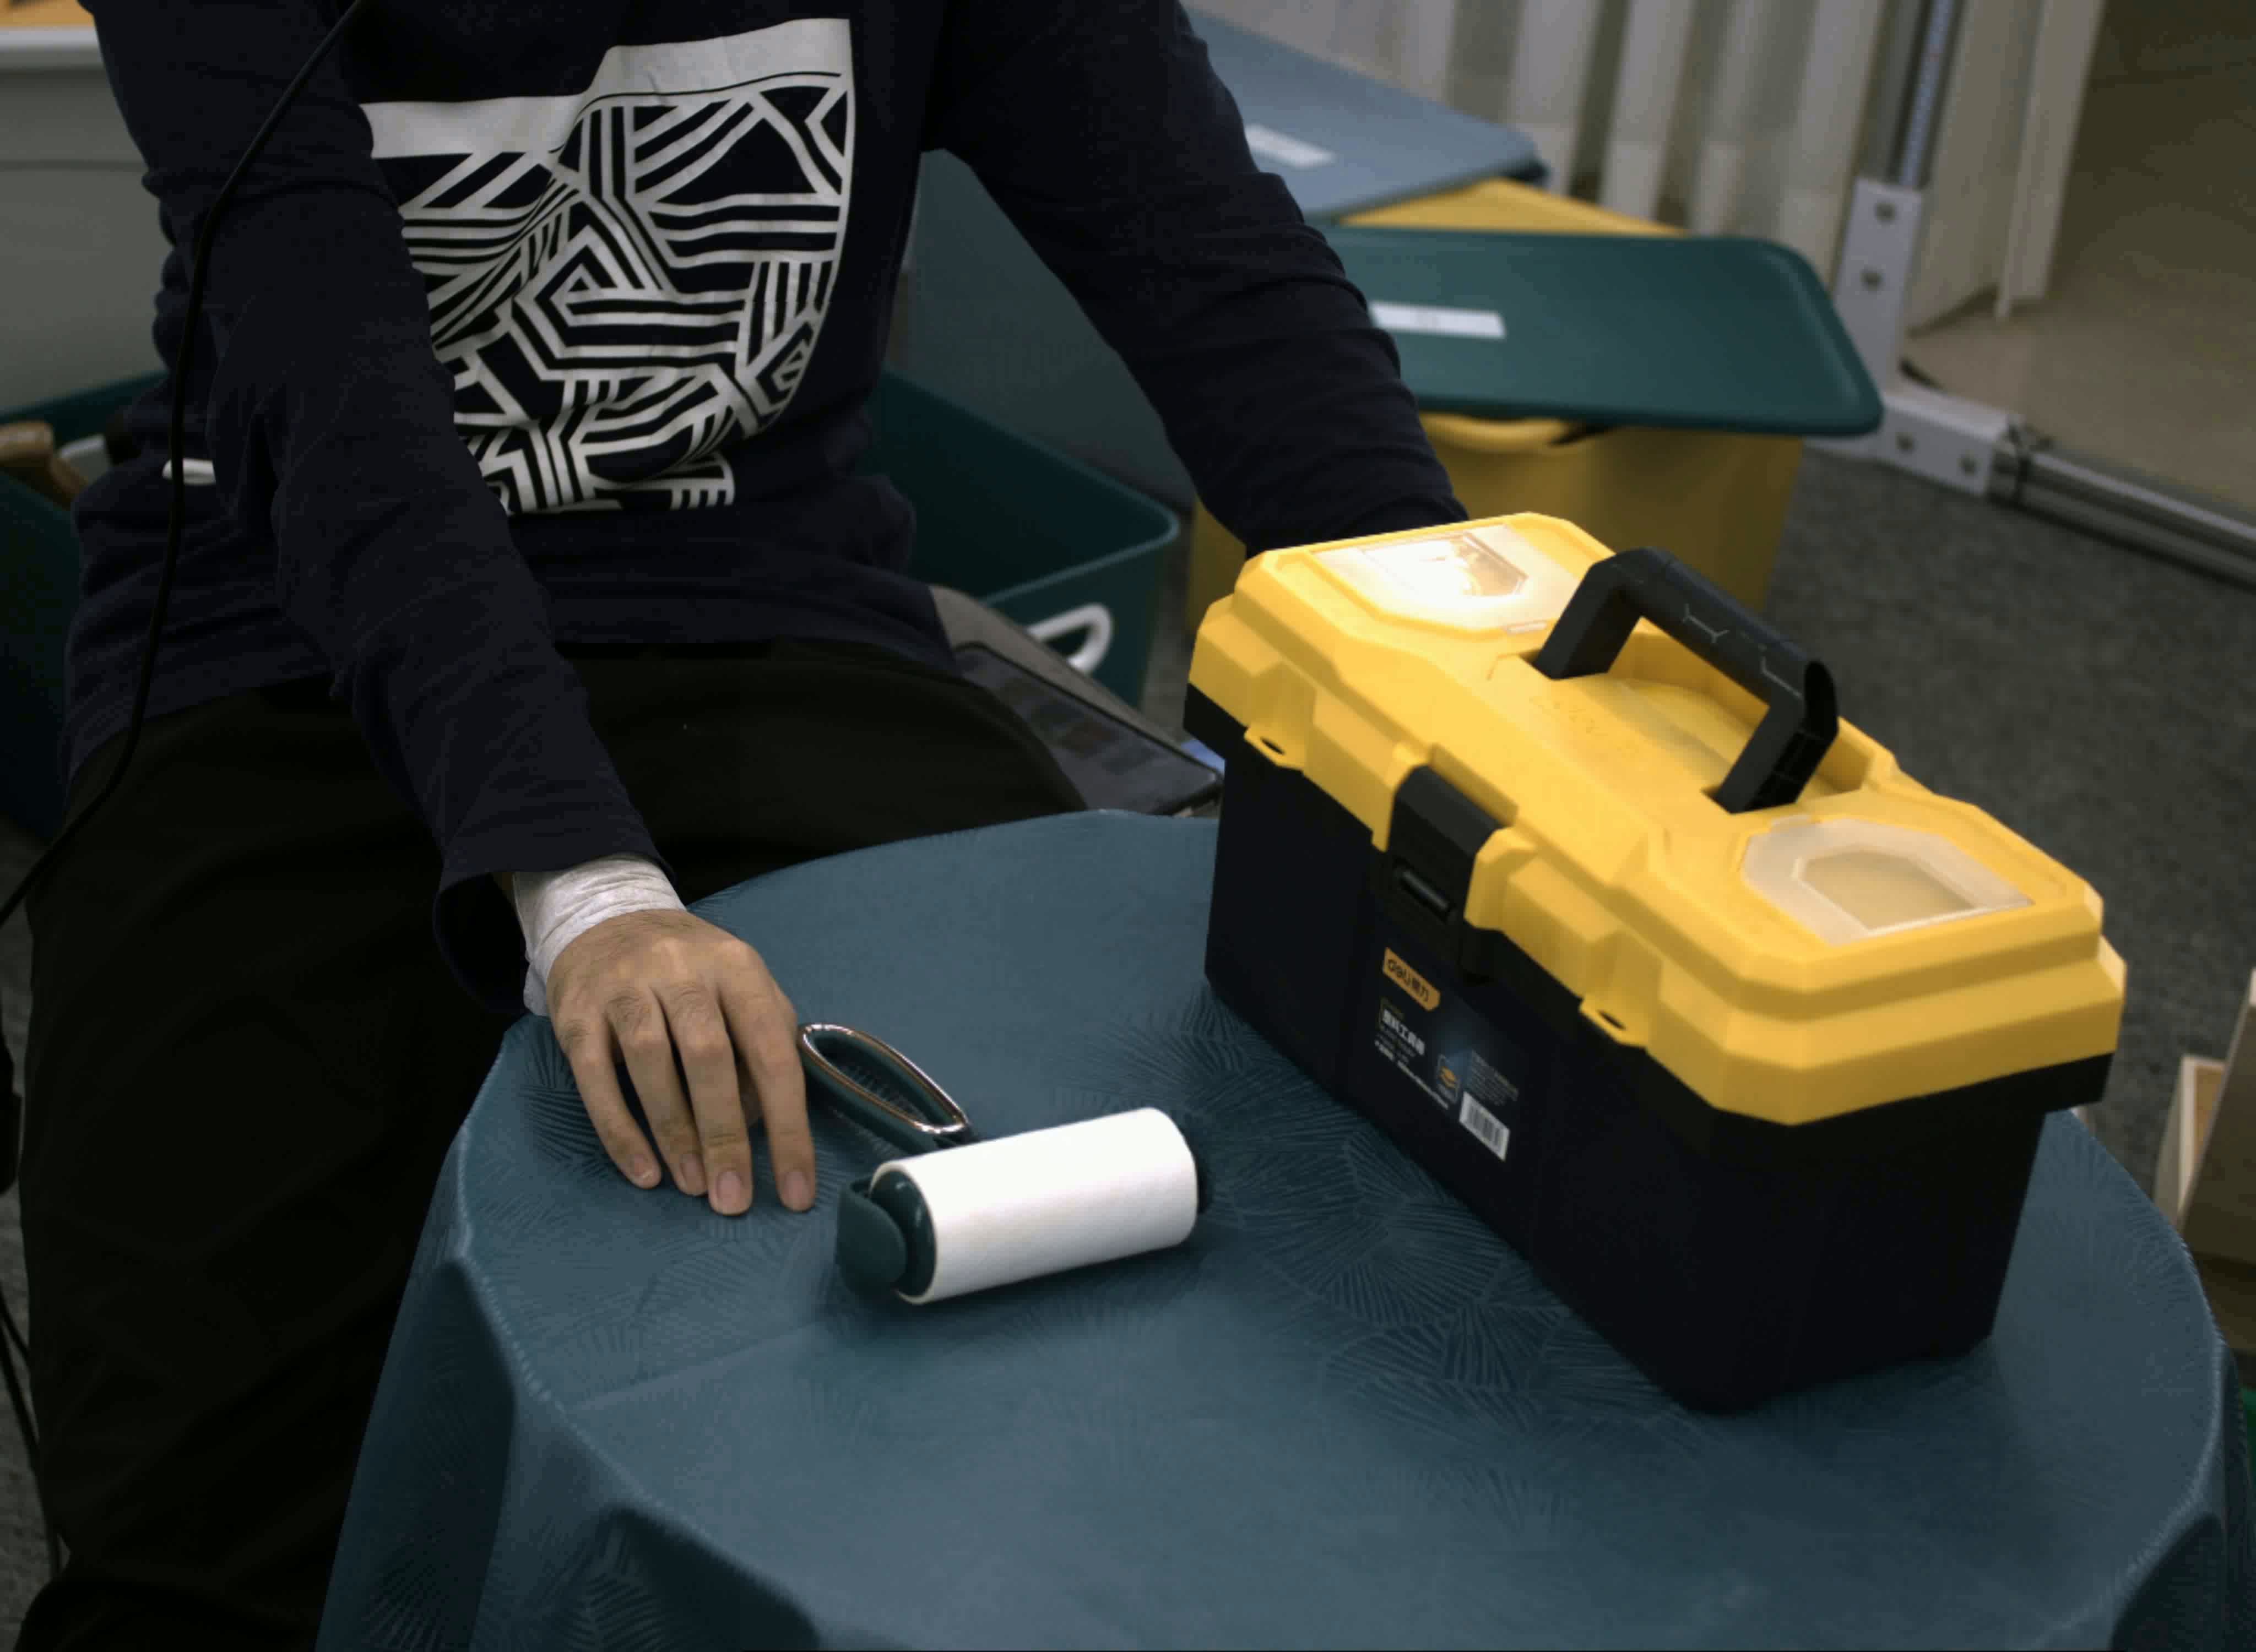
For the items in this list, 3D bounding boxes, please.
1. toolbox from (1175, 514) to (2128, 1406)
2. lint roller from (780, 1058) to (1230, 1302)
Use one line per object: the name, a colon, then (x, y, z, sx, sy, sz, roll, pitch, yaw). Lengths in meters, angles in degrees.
toolbox: (0.165, 0.039, 1.819, 0.180, 0.172, 0.354, -9, 30, -30)
lint roller: (-0.067, 0.099, 1.797, 0.133, 0.048, 0.181, -11, 28, -30)
